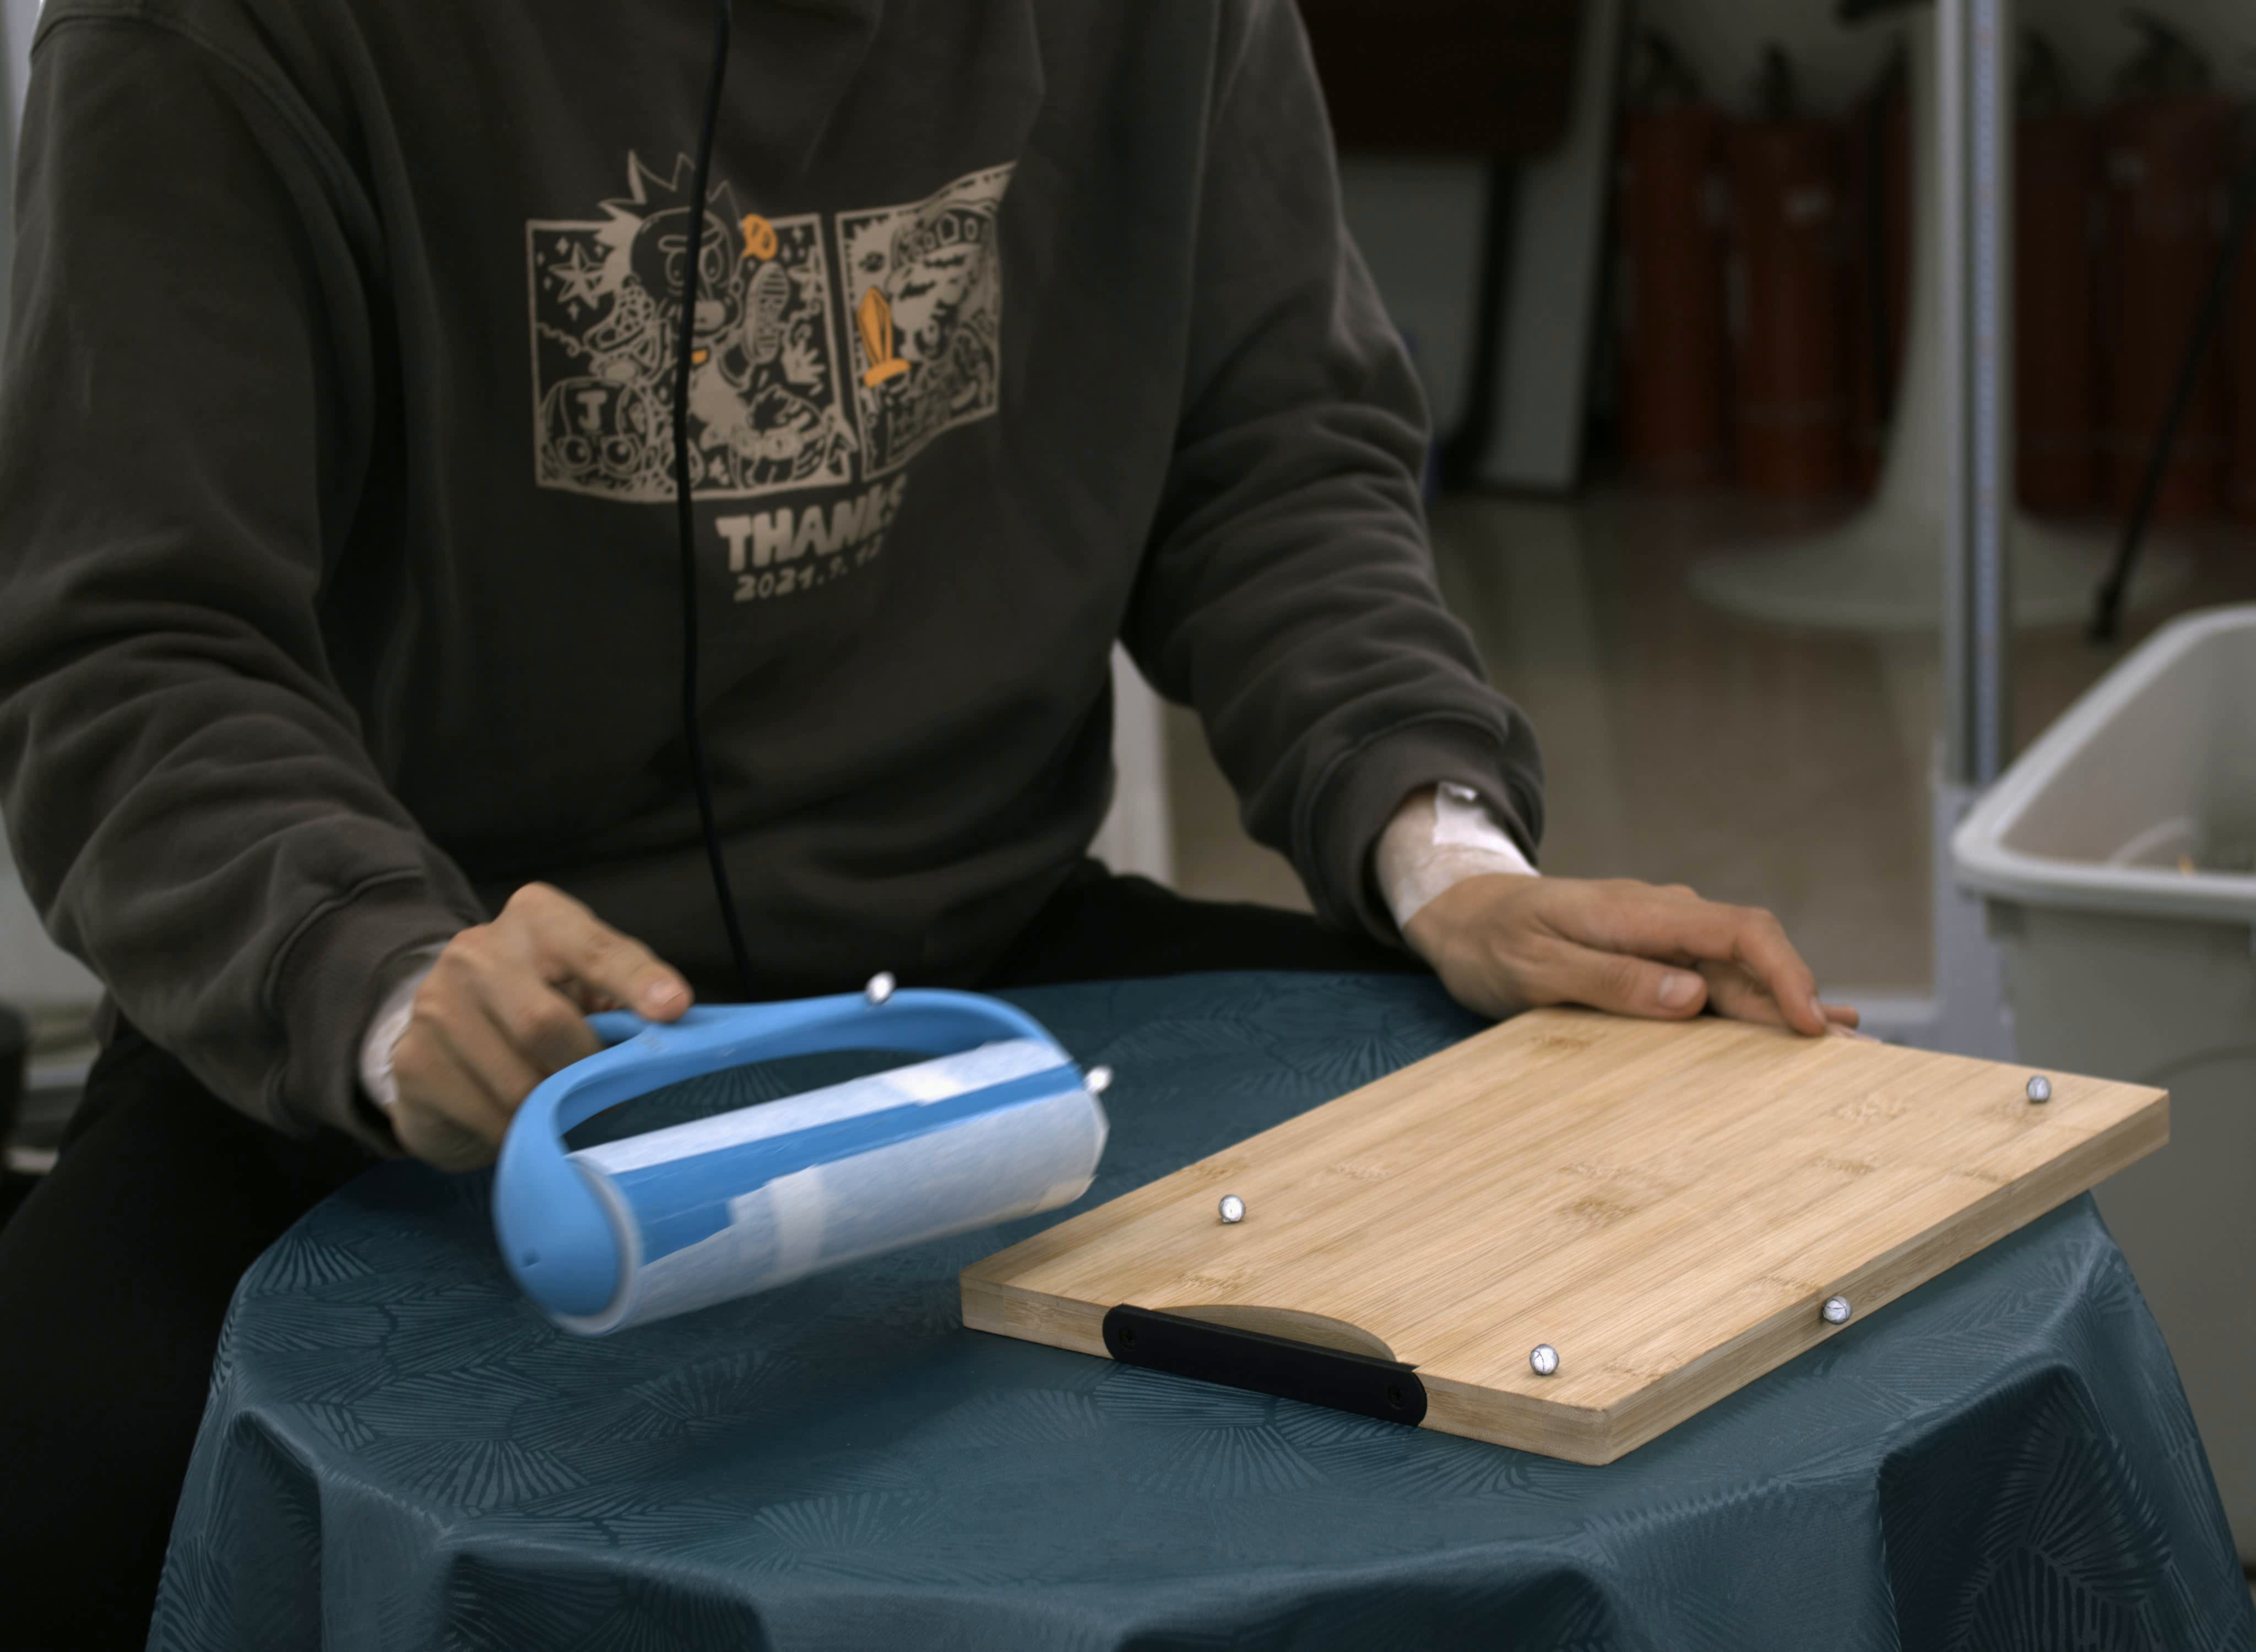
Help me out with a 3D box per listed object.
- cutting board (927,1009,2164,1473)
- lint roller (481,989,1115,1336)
[{"bbox_3d":[0.139,0.123,1.694,0.252,0.024,0.342,6,17,38],"label":"cutting board"},{"bbox_3d":[-0.130,0.087,1.634,0.181,0.069,0.224,19,22,36],"label":"lint roller"}]
